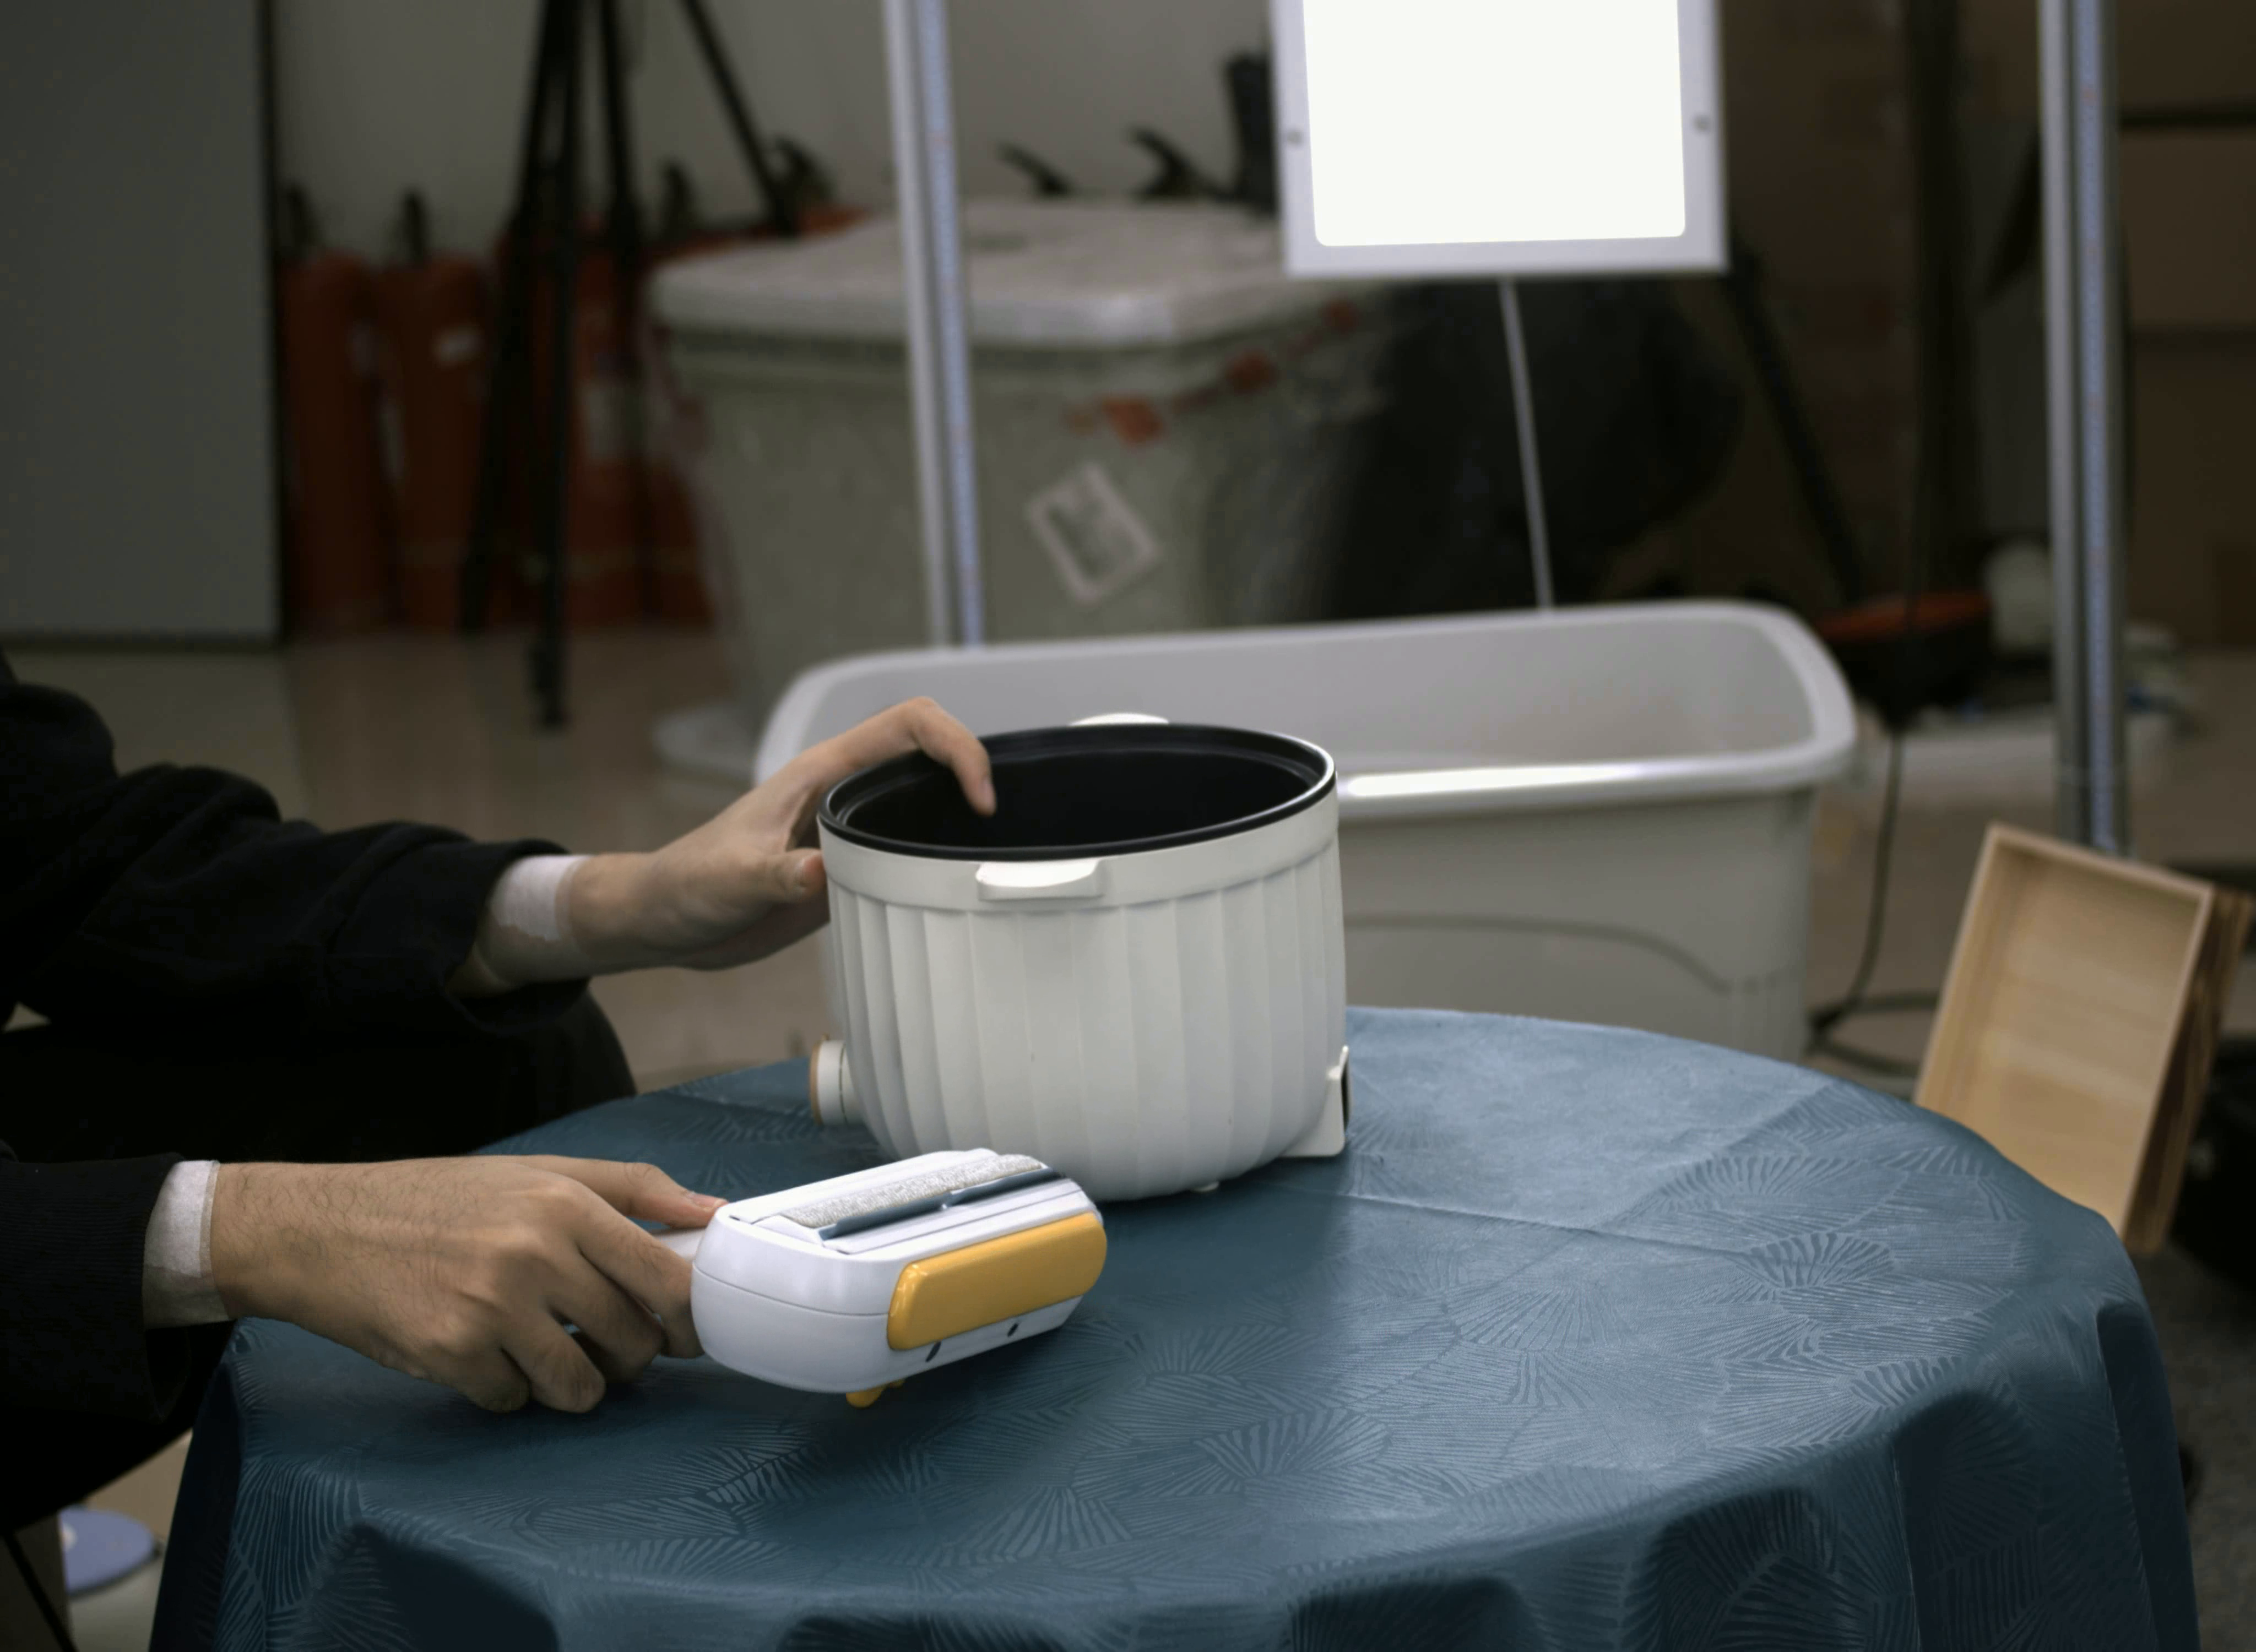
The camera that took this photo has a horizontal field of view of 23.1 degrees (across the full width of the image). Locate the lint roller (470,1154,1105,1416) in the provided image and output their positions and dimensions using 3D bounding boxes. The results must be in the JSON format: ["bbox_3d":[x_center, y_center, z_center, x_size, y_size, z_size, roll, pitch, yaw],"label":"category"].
[{"bbox_3d":[-0.124,0.138,1.732,0.196,0.074,0.188,7,11,29],"label":"lint roller"}]

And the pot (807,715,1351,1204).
[{"bbox_3d":[-0.019,0.050,1.921,0.191,0.143,0.238,0,13,8],"label":"pot"}]
